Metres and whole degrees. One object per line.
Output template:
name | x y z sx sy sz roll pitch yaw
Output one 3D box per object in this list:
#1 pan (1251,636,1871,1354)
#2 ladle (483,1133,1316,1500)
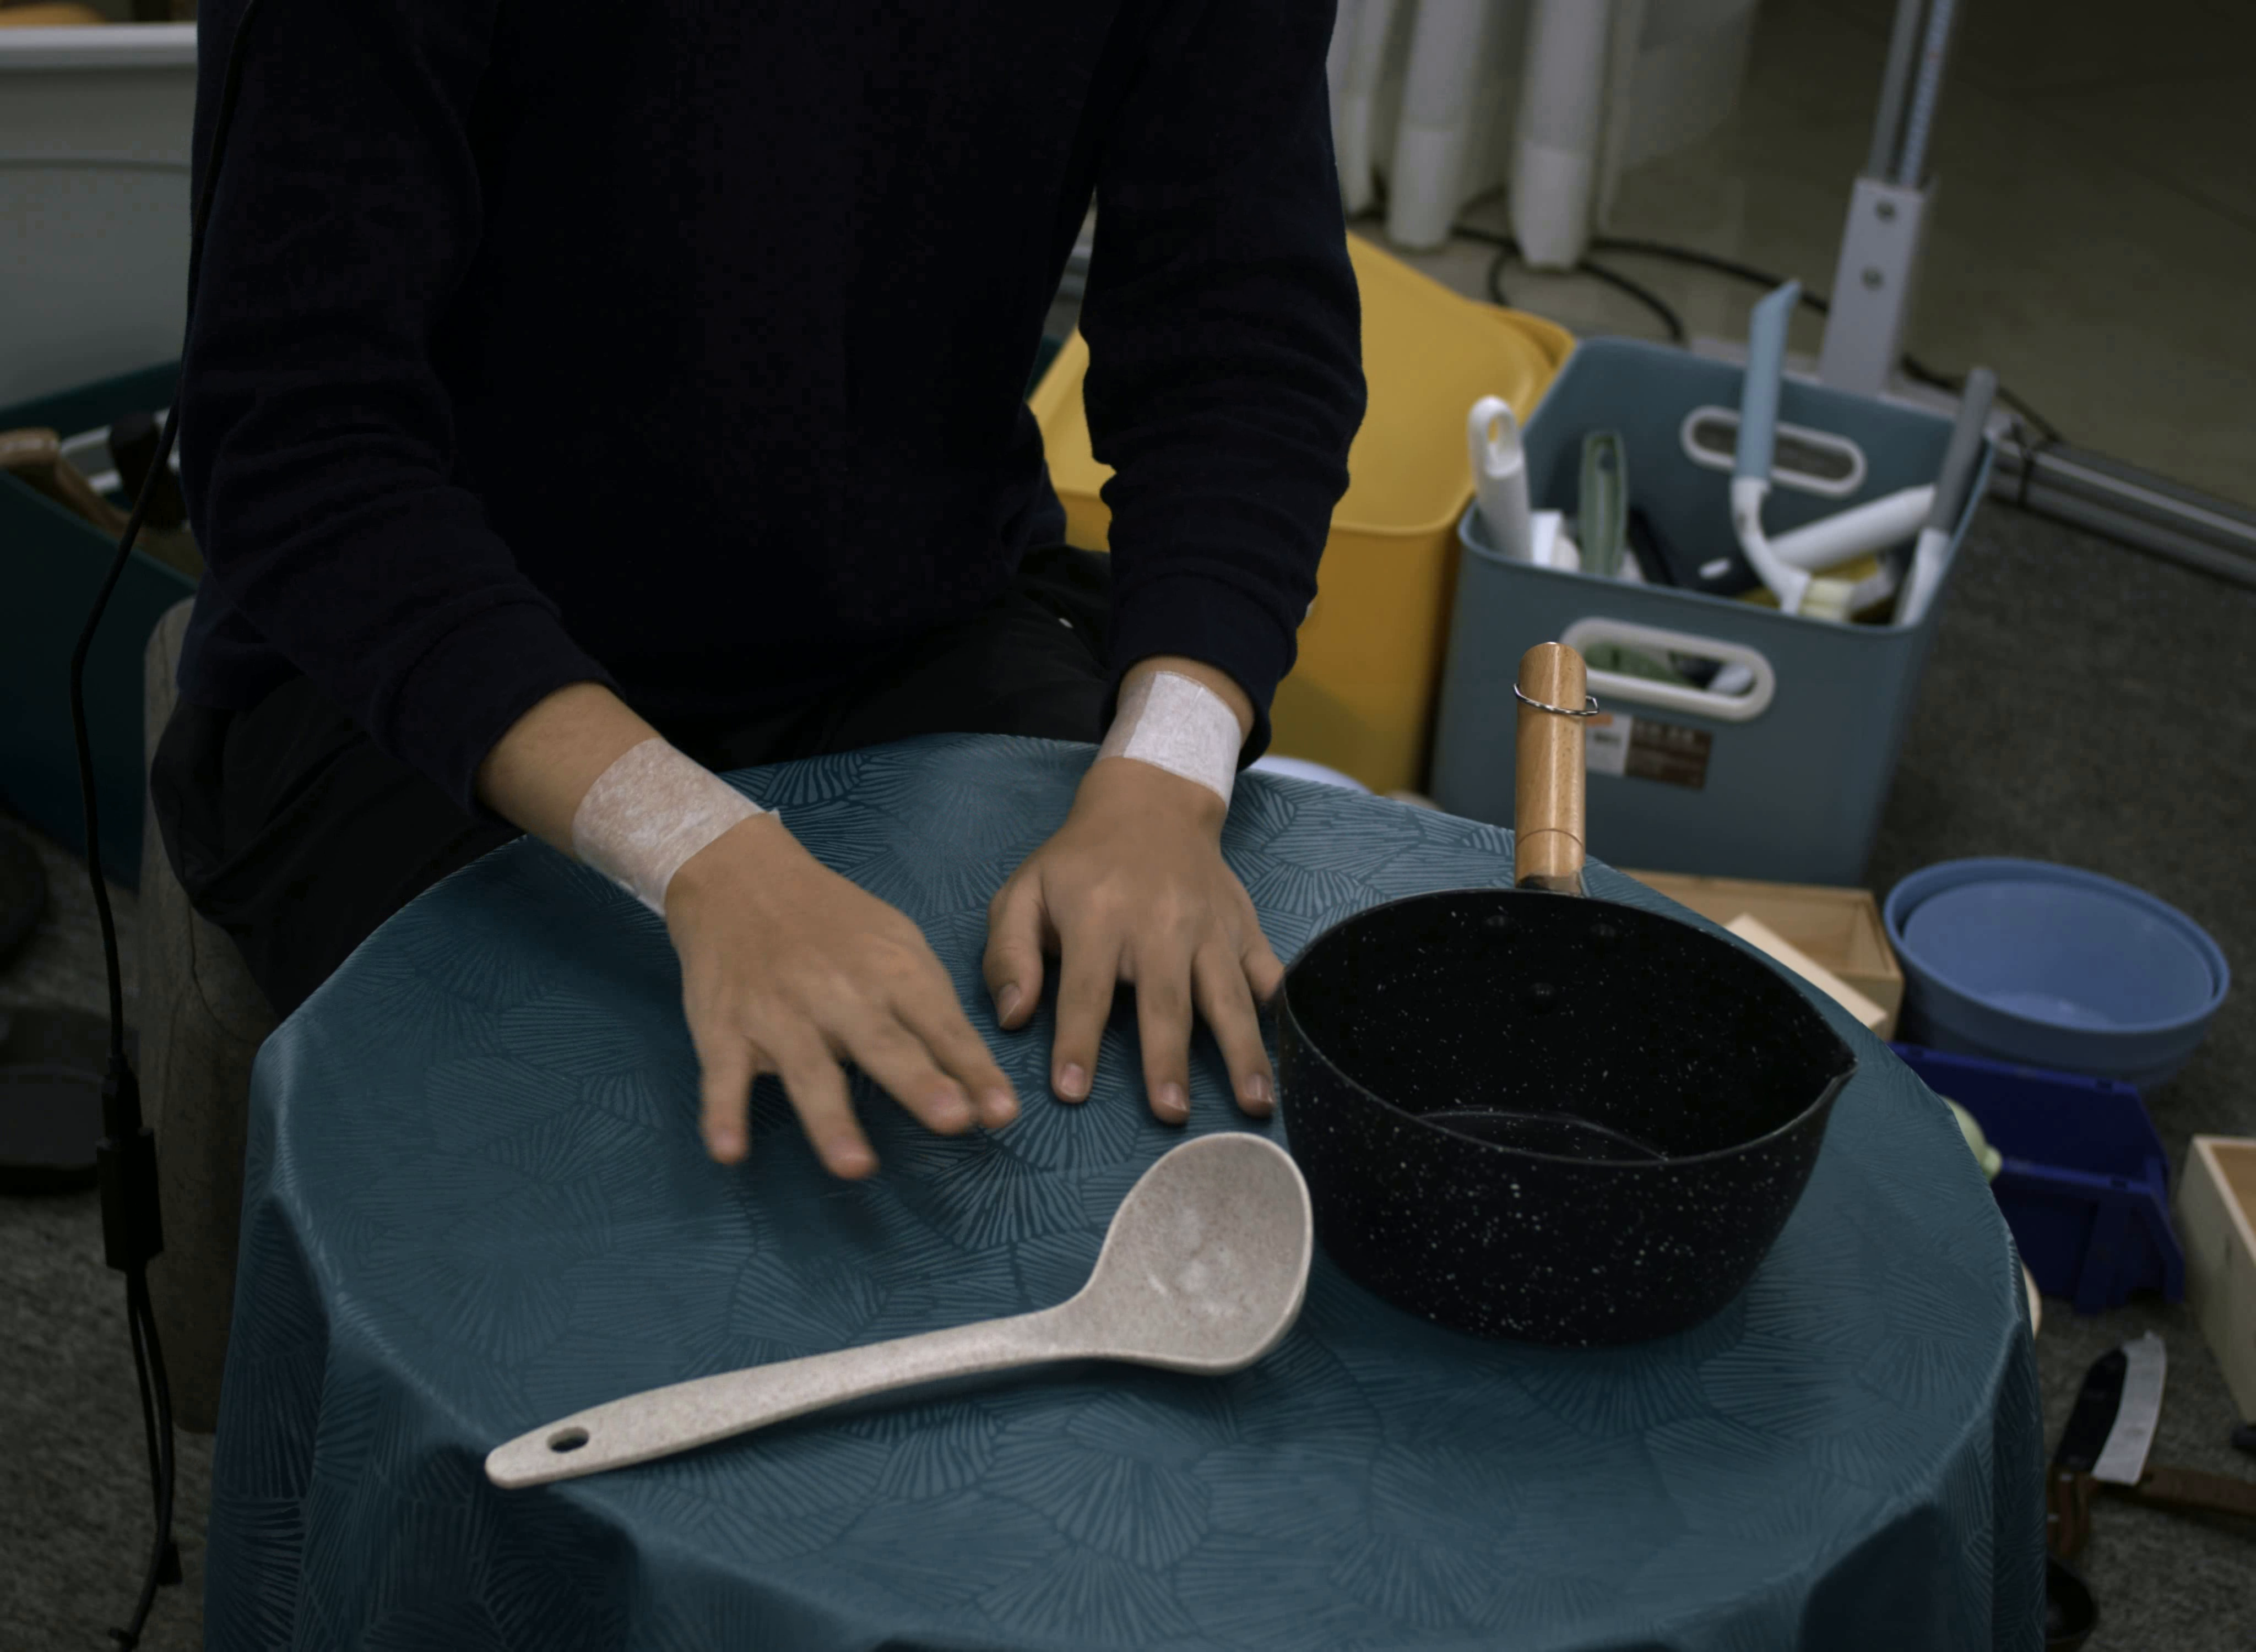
pan | 0.144 0.055 1.851 0.207 0.108 0.345 5 28 0
ladle | -0.069 0.155 1.656 0.273 0.069 0.090 -9 43 -27
